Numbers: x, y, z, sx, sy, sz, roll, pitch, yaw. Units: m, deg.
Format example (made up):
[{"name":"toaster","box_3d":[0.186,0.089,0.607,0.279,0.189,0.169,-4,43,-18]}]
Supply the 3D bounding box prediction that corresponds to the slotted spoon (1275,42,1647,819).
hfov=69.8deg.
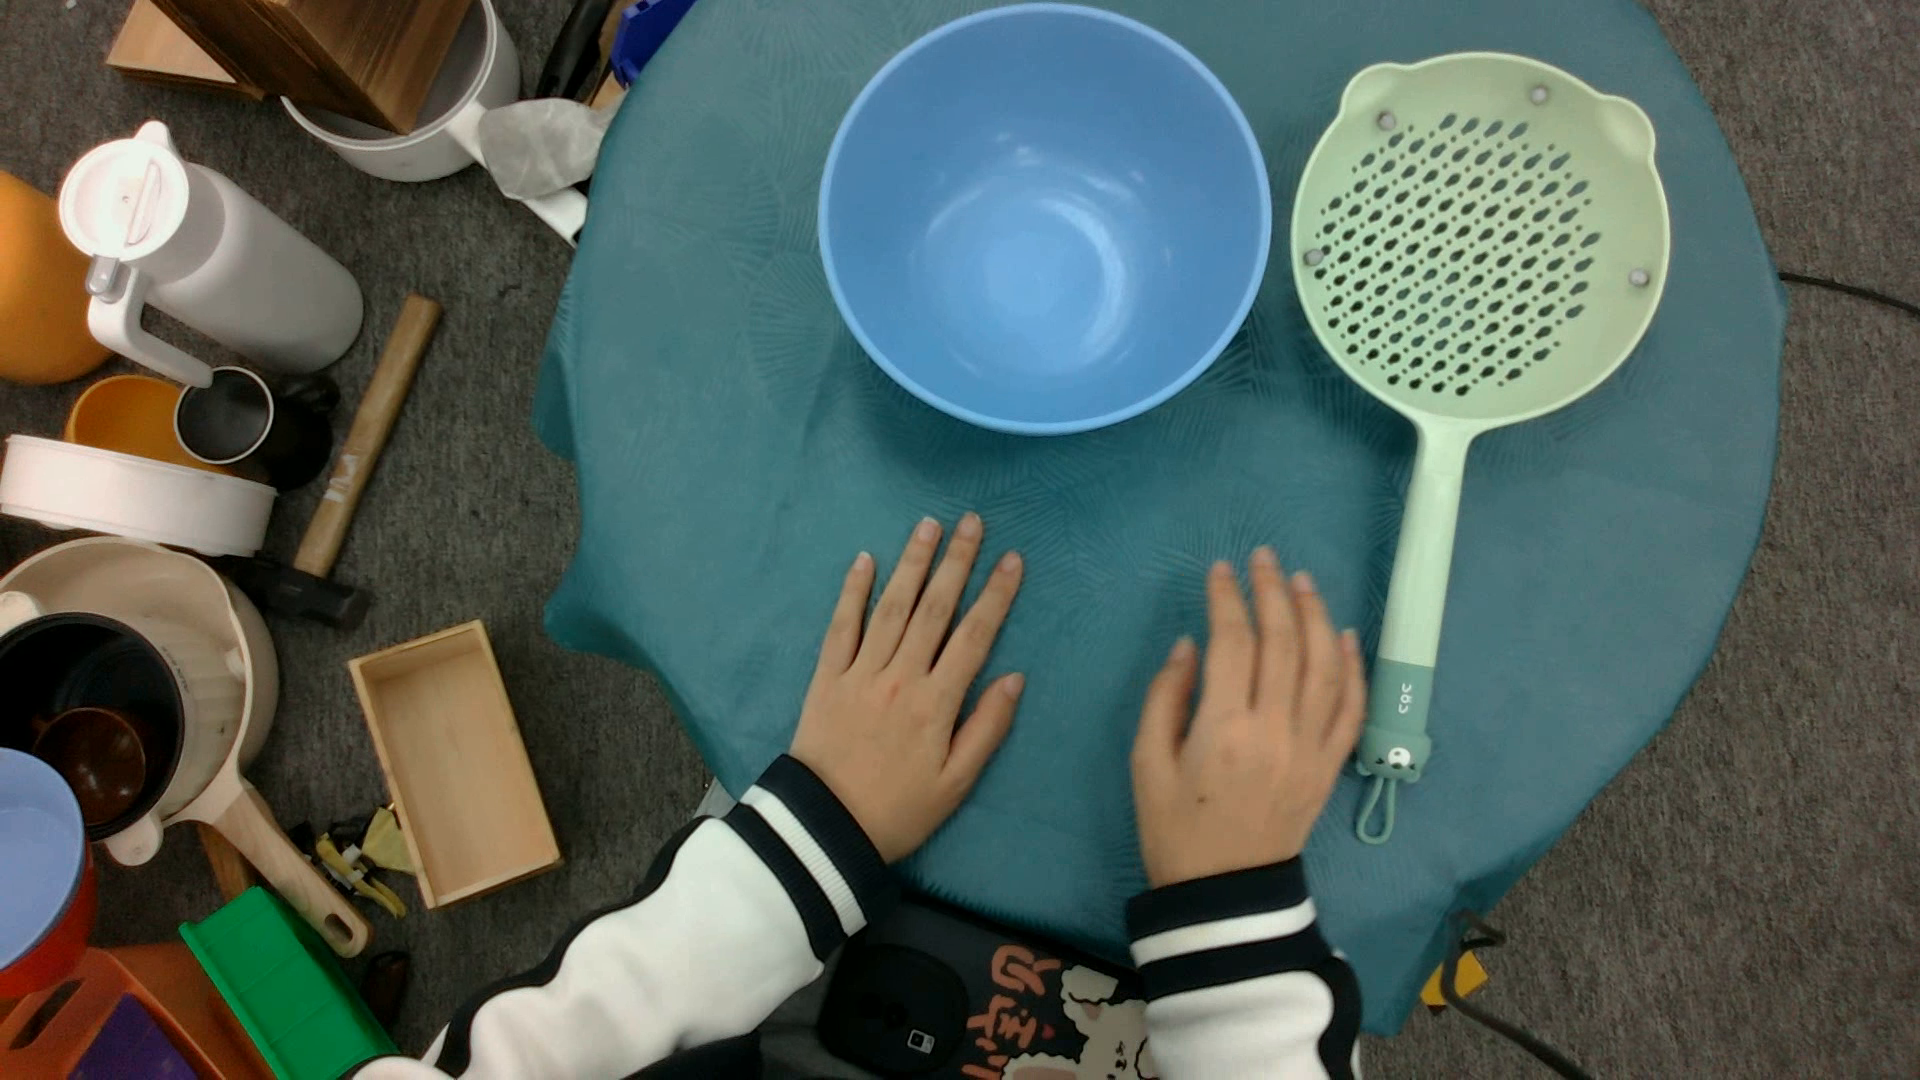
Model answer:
[{"name":"slotted spoon","box_3d":[0.214,-0.047,0.642,0.169,0.075,0.359,9,82,3]}]

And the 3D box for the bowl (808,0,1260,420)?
[{"name":"bowl","box_3d":[0.033,-0.141,0.641,0.196,0.095,0.197,0,80,0]}]
